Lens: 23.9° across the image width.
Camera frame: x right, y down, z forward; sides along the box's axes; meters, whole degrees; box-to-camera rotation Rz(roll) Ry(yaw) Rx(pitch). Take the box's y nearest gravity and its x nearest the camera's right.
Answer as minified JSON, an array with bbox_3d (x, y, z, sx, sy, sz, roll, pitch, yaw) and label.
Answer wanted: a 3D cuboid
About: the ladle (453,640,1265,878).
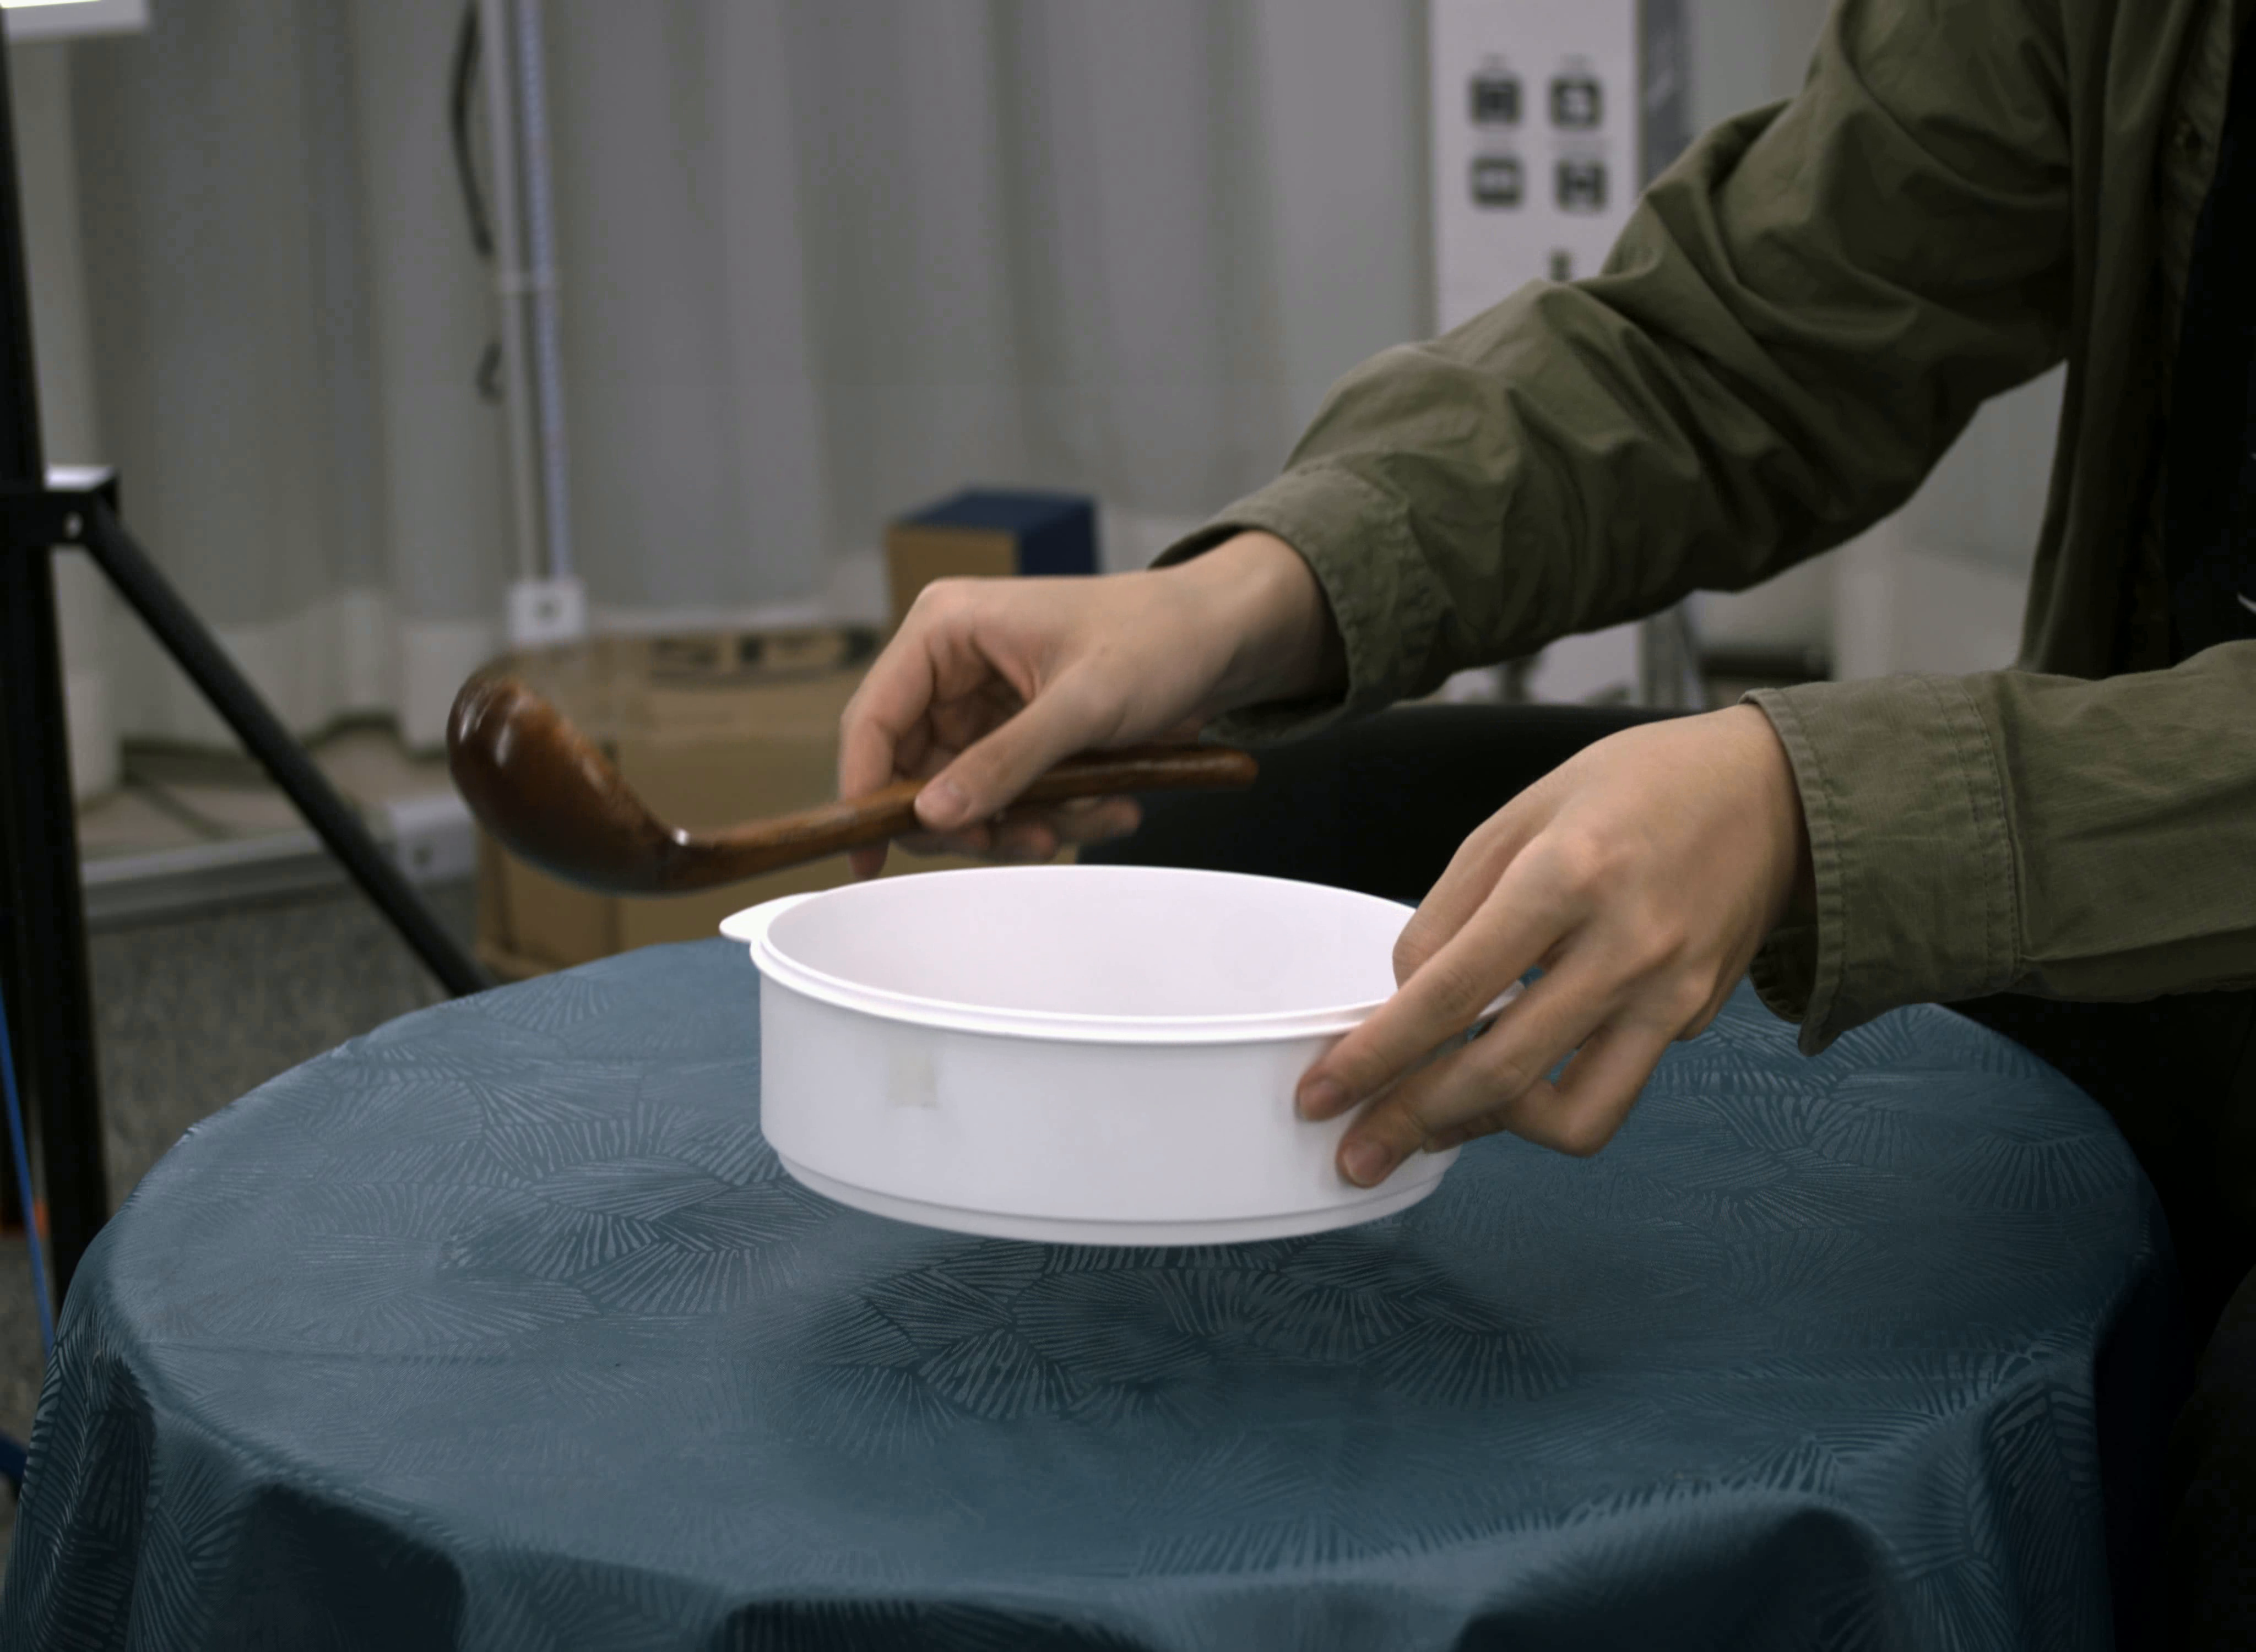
[{"bbox_3d":[-0.078,-0.033,1.630,0.268,0.076,0.084,-9,19,-29],"label":"ladle"}]

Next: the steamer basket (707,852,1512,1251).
[{"bbox_3d":[-0.008,0.062,1.464,0.234,0.069,0.198,8,13,26],"label":"steamer basket"}]
